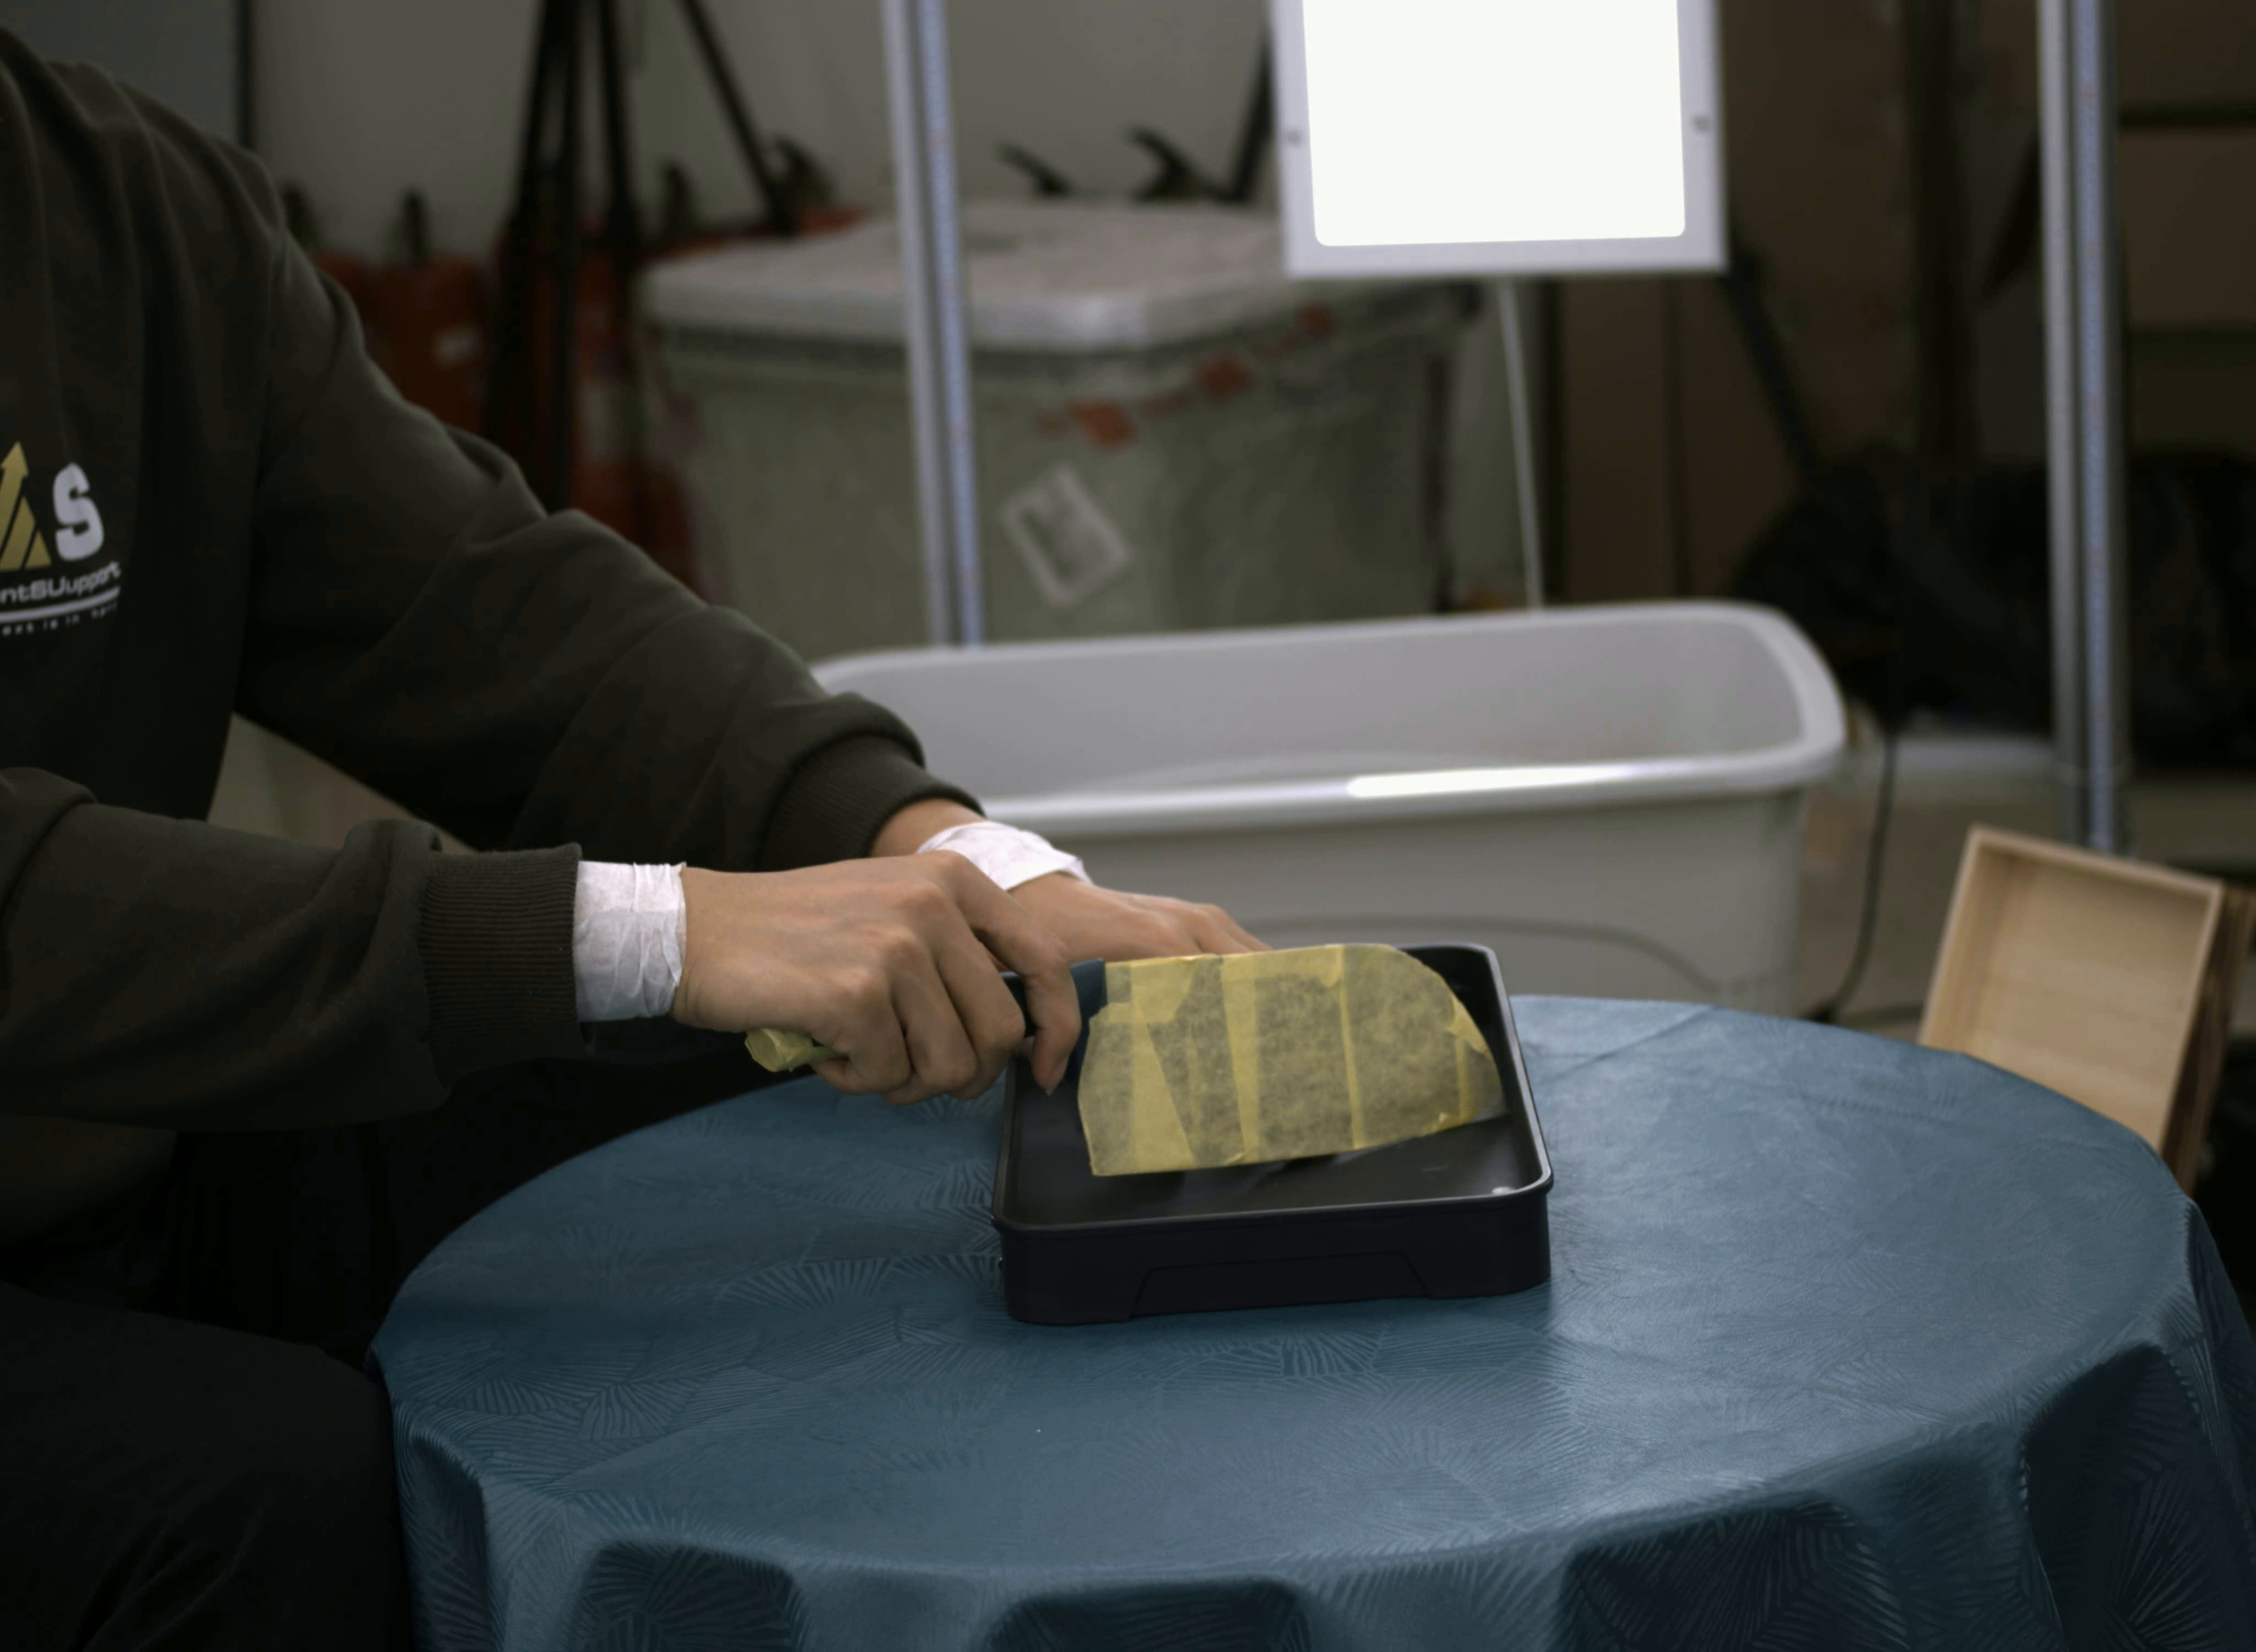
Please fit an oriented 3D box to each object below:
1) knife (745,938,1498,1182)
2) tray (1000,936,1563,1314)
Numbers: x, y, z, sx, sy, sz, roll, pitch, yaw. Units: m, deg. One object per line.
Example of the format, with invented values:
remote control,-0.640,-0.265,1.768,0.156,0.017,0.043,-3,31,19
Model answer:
knife,0.004,0.080,1.876,0.283,0.081,0.028,-1,-8,-25
tray,0.048,0.100,1.915,0.184,0.037,0.317,-5,13,1
